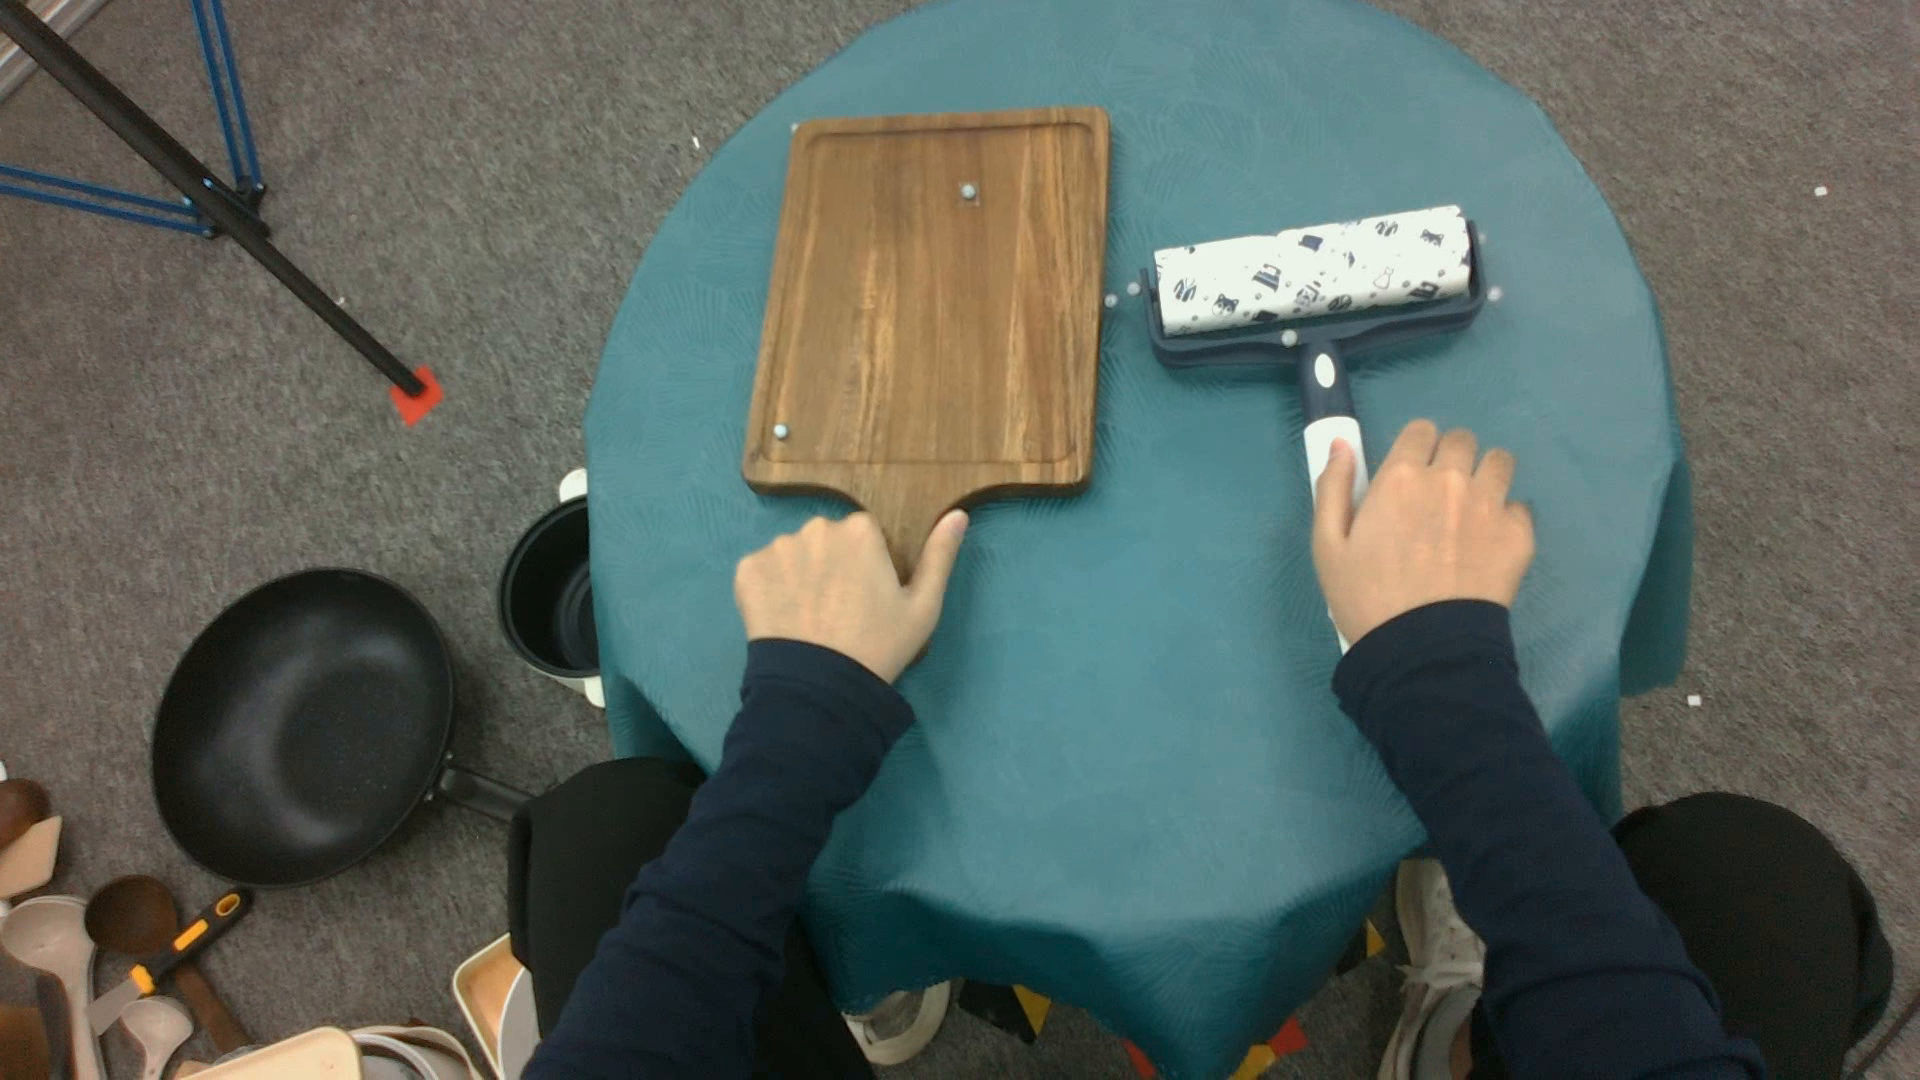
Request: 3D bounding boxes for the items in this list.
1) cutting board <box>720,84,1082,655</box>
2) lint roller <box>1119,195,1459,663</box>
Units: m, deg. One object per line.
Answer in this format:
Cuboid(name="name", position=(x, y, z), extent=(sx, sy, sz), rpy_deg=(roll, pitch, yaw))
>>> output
Cuboid(name="cutting board", position=(-0.032, -0.106, 0.776), extent=(0.201, 0.023, 0.353), rpy_deg=(0, 68, 9))
Cuboid(name="lint roller", position=(0.185, -0.060, 0.717), extent=(0.176, 0.050, 0.247), rpy_deg=(-7, 70, 5))
